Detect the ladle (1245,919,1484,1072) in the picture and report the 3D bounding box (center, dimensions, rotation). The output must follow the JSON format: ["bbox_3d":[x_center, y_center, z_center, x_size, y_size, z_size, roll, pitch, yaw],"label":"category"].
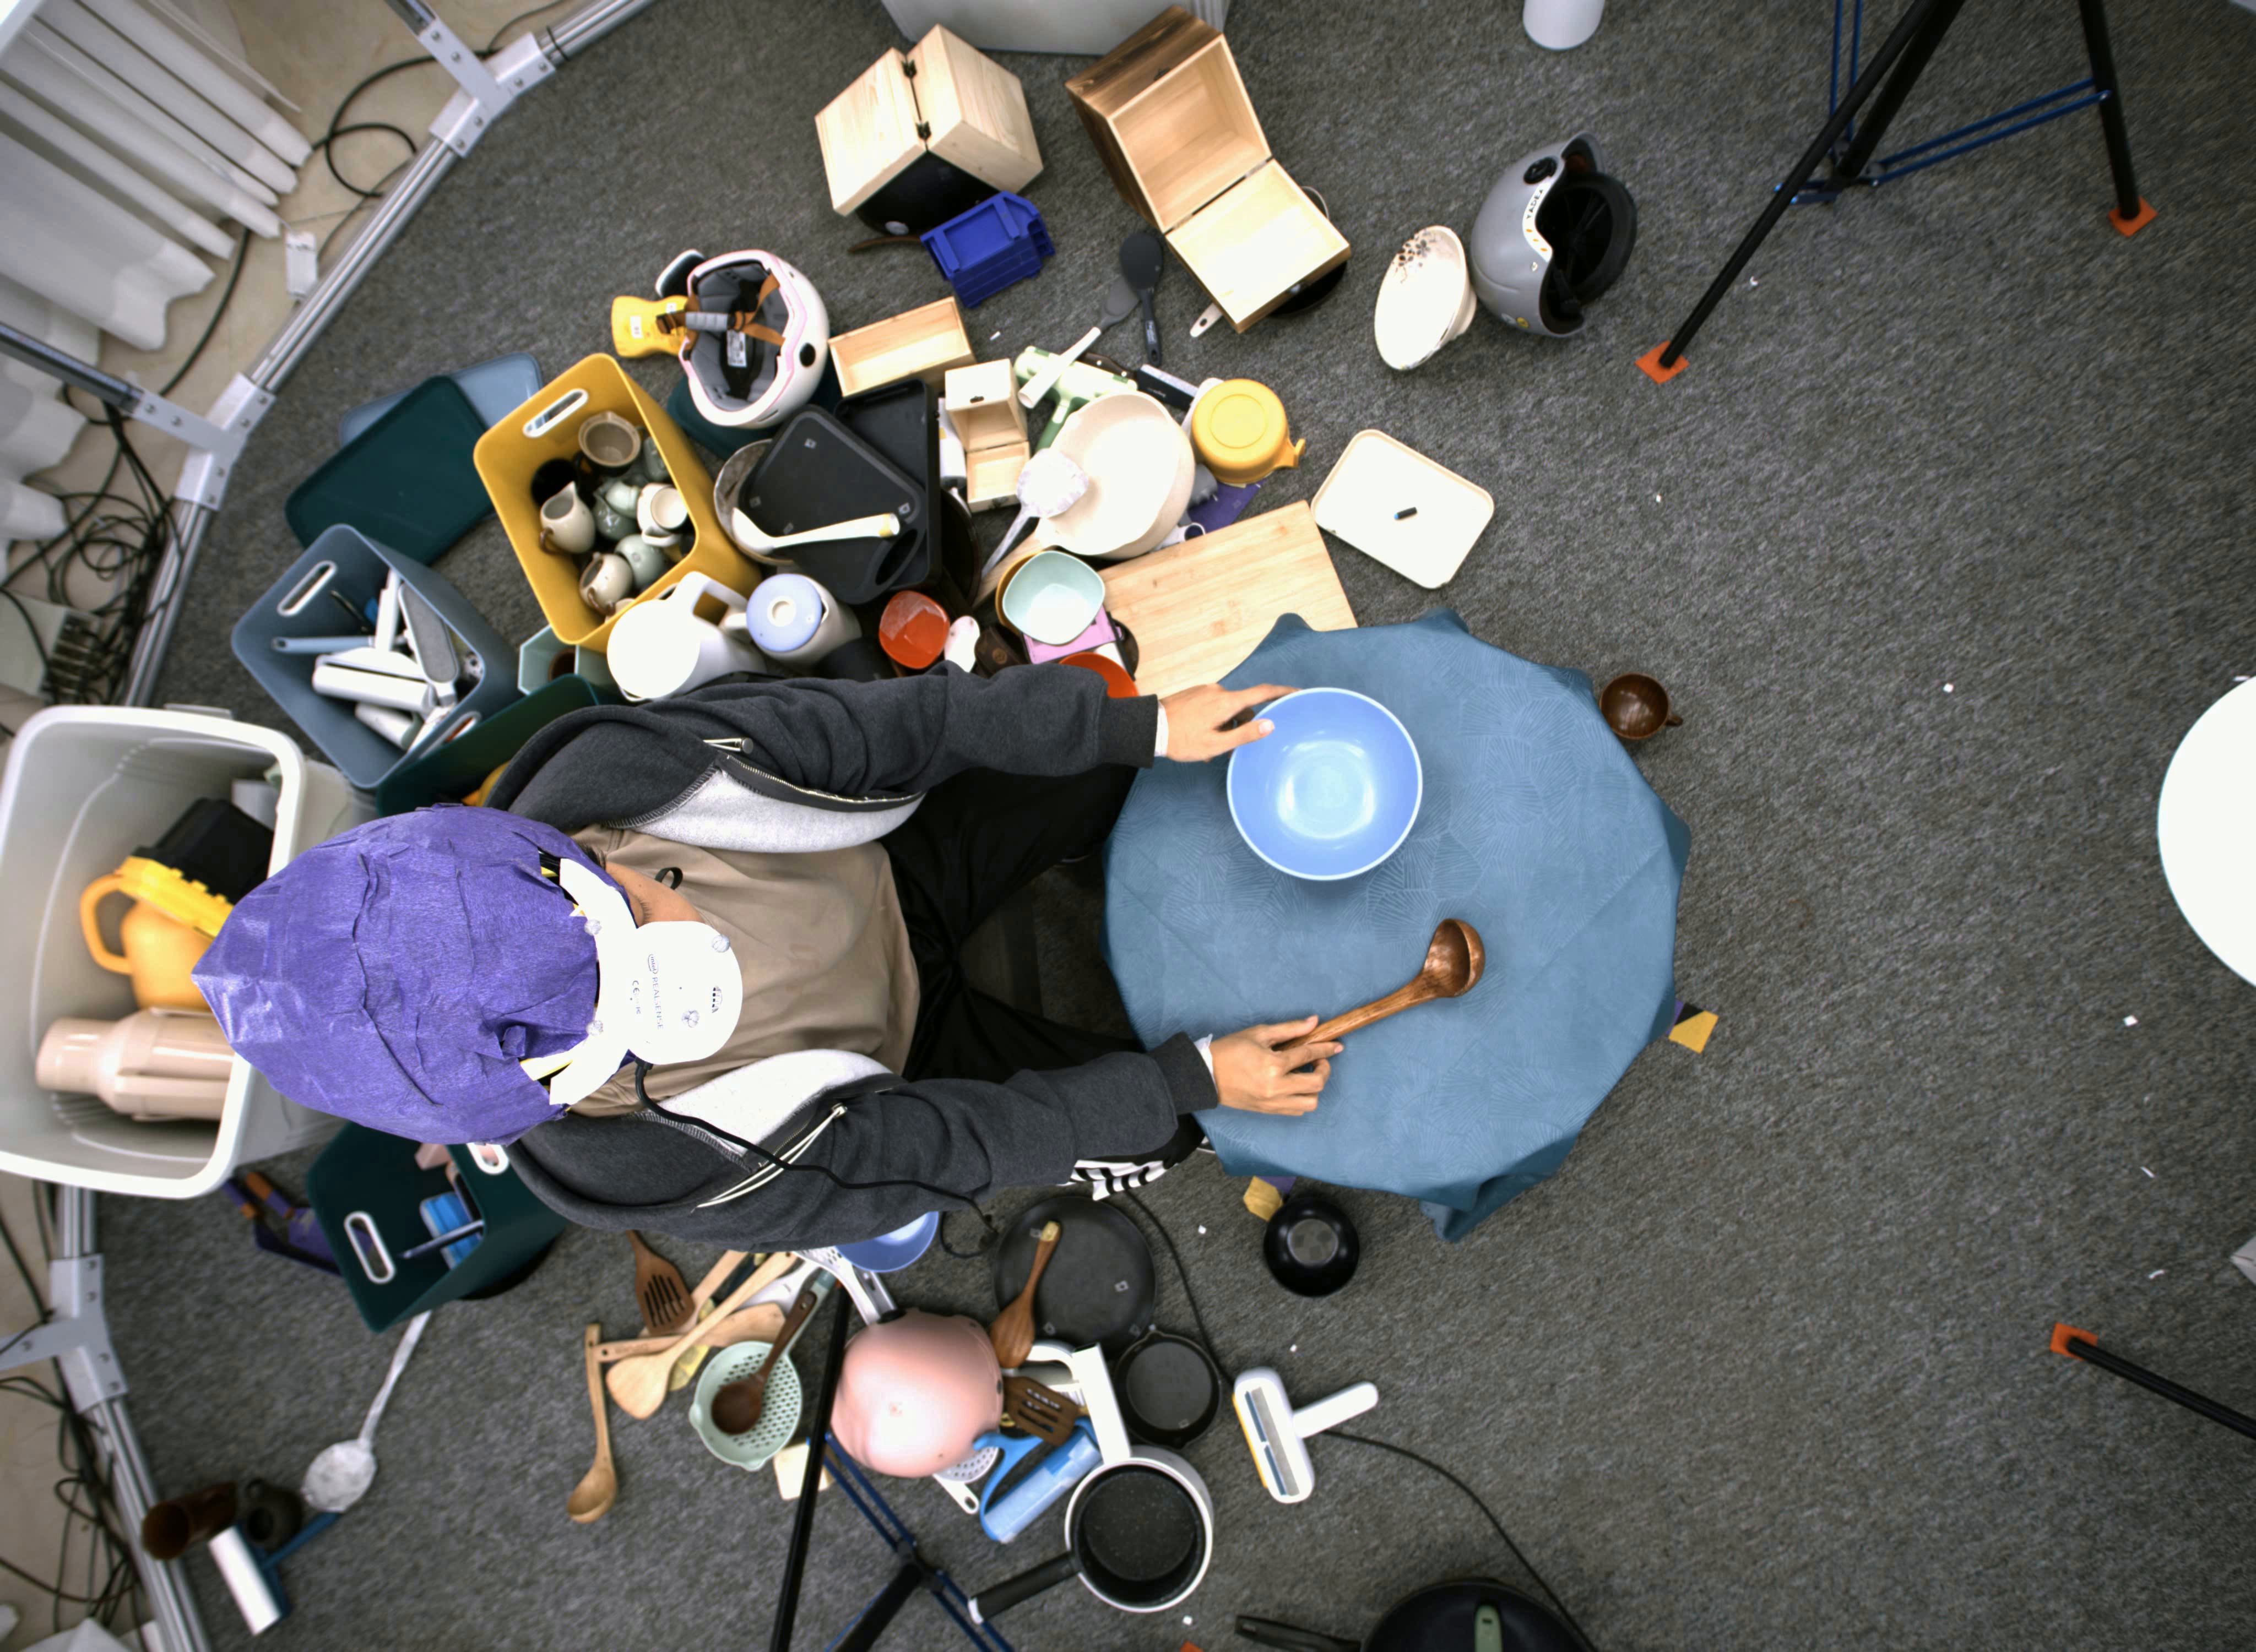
[{"bbox_3d":[0.238,0.178,1.423,0.276,0.078,0.080,-24,42,10],"label":"ladle"}]

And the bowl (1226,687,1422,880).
[{"bbox_3d":[0.204,-0.040,1.429,0.197,0.095,0.196,-1,87,10],"label":"bowl"}]
